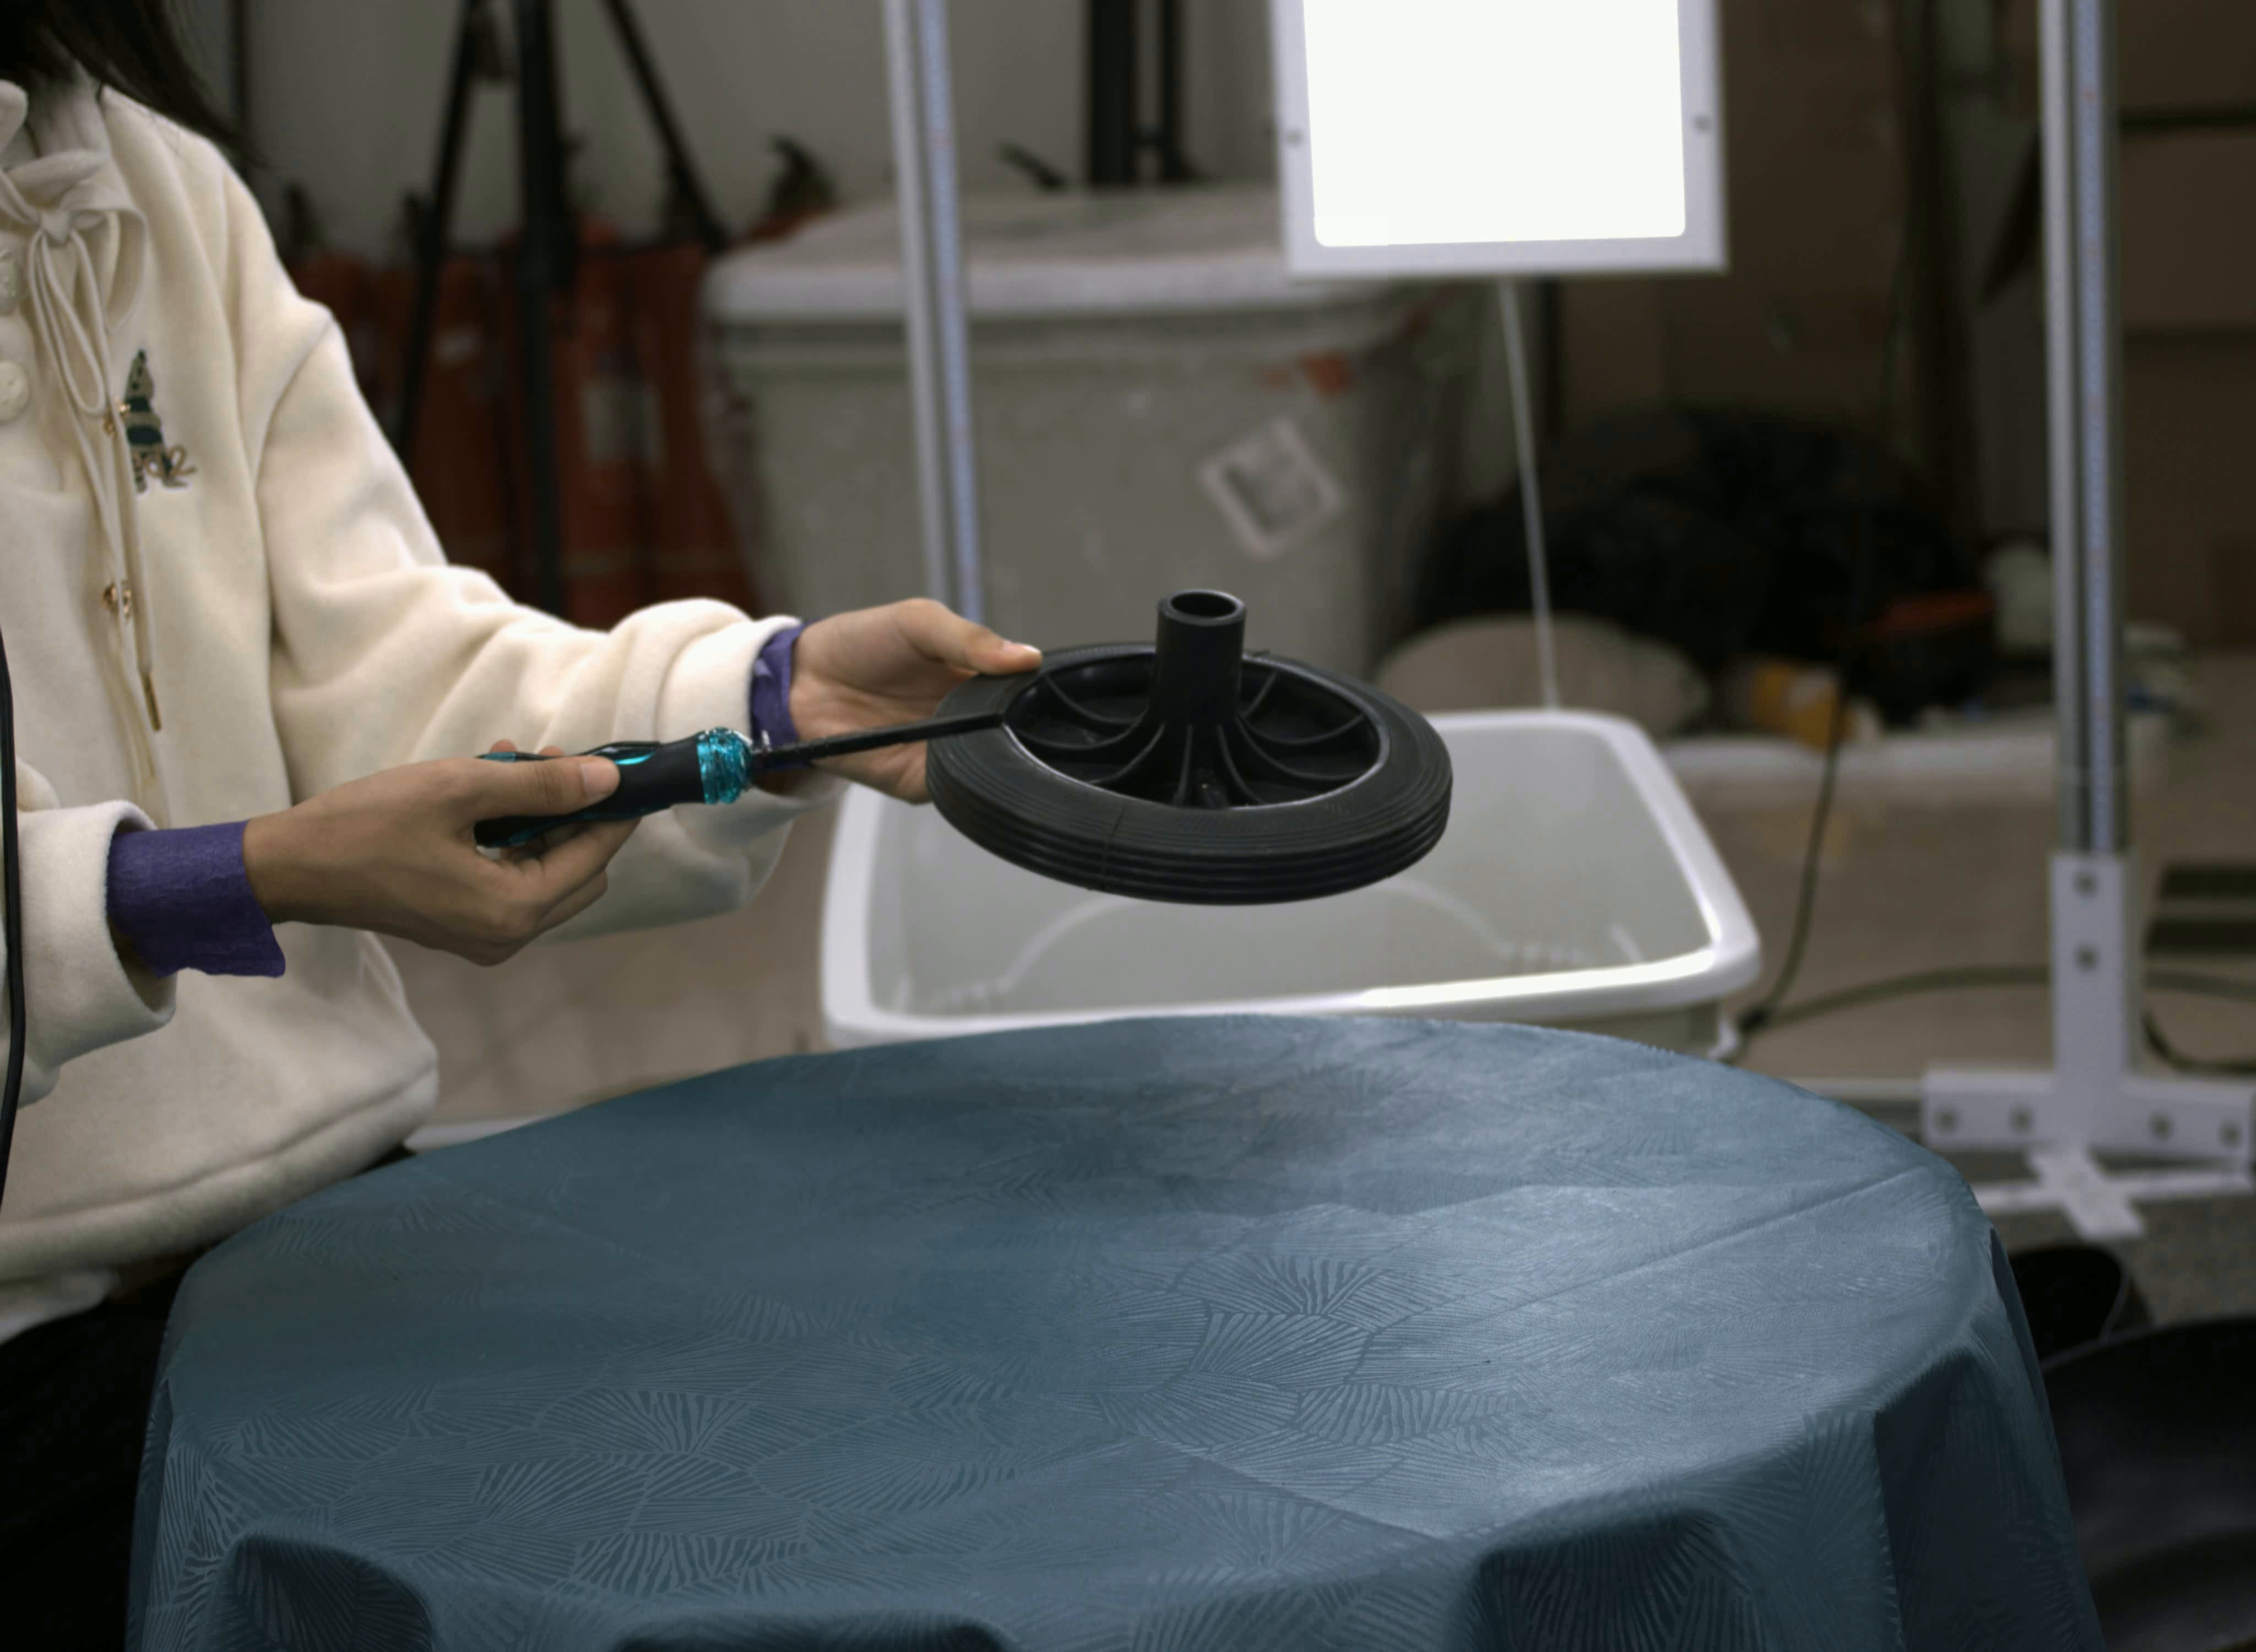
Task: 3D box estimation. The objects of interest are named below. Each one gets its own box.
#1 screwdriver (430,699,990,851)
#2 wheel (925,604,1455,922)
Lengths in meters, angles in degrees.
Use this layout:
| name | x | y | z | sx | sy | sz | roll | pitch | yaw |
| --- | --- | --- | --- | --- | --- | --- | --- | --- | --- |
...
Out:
| name | x | y | z | sx | sy | sz | roll | pitch | yaw |
| --- | --- | --- | --- | --- | --- | --- | --- | --- | --- |
| screwdriver | -0.139 | -0.023 | 1.847 | 0.189 | 0.034 | 0.034 | -11 | 14 | -2 |
| wheel | 0.025 | -0.036 | 1.947 | 0.183 | 0.080 | 0.193 | -13 | 31 | -33 |
